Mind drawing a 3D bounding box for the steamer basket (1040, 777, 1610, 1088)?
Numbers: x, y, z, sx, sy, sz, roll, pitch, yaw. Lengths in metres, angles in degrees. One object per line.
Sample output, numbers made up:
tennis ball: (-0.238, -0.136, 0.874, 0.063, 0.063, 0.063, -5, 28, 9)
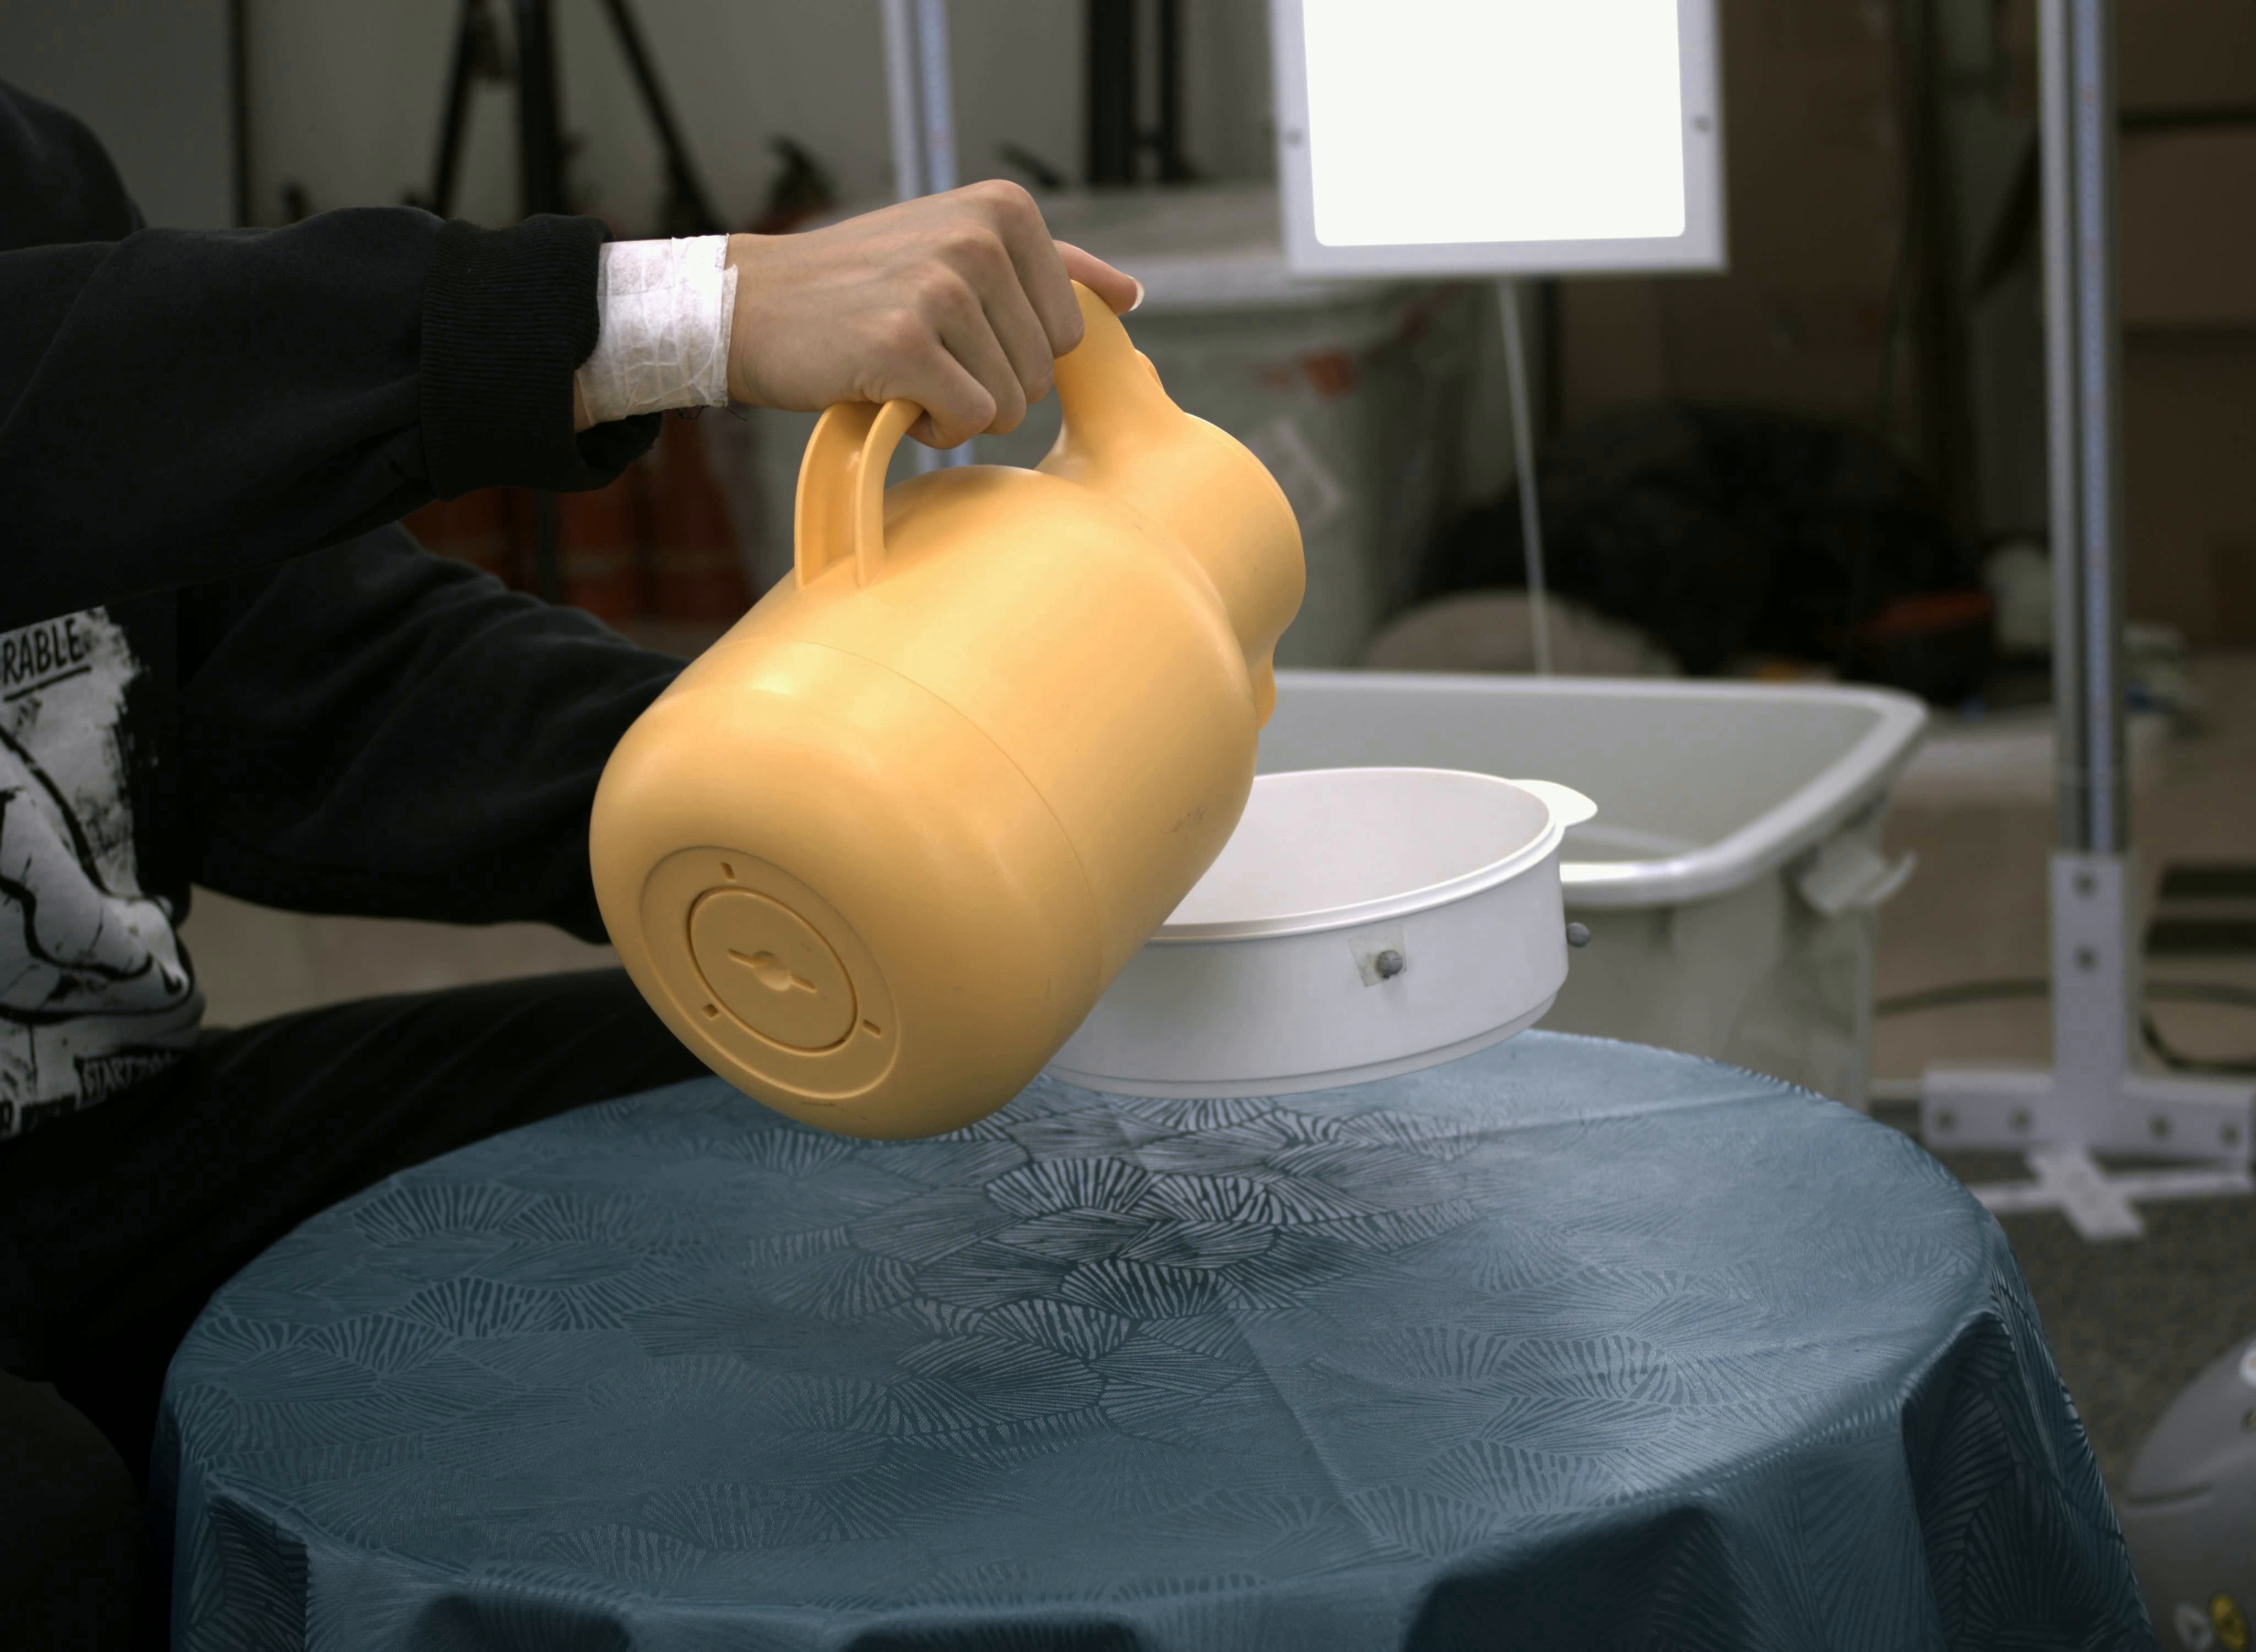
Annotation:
steamer basket: (0.057, 0.037, 1.884, 0.227, 0.069, 0.204, -10, 12, -15)

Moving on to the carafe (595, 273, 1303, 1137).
carafe: (-0.050, -0.047, 1.720, 0.167, 0.202, 0.255, -4, 32, 39)
